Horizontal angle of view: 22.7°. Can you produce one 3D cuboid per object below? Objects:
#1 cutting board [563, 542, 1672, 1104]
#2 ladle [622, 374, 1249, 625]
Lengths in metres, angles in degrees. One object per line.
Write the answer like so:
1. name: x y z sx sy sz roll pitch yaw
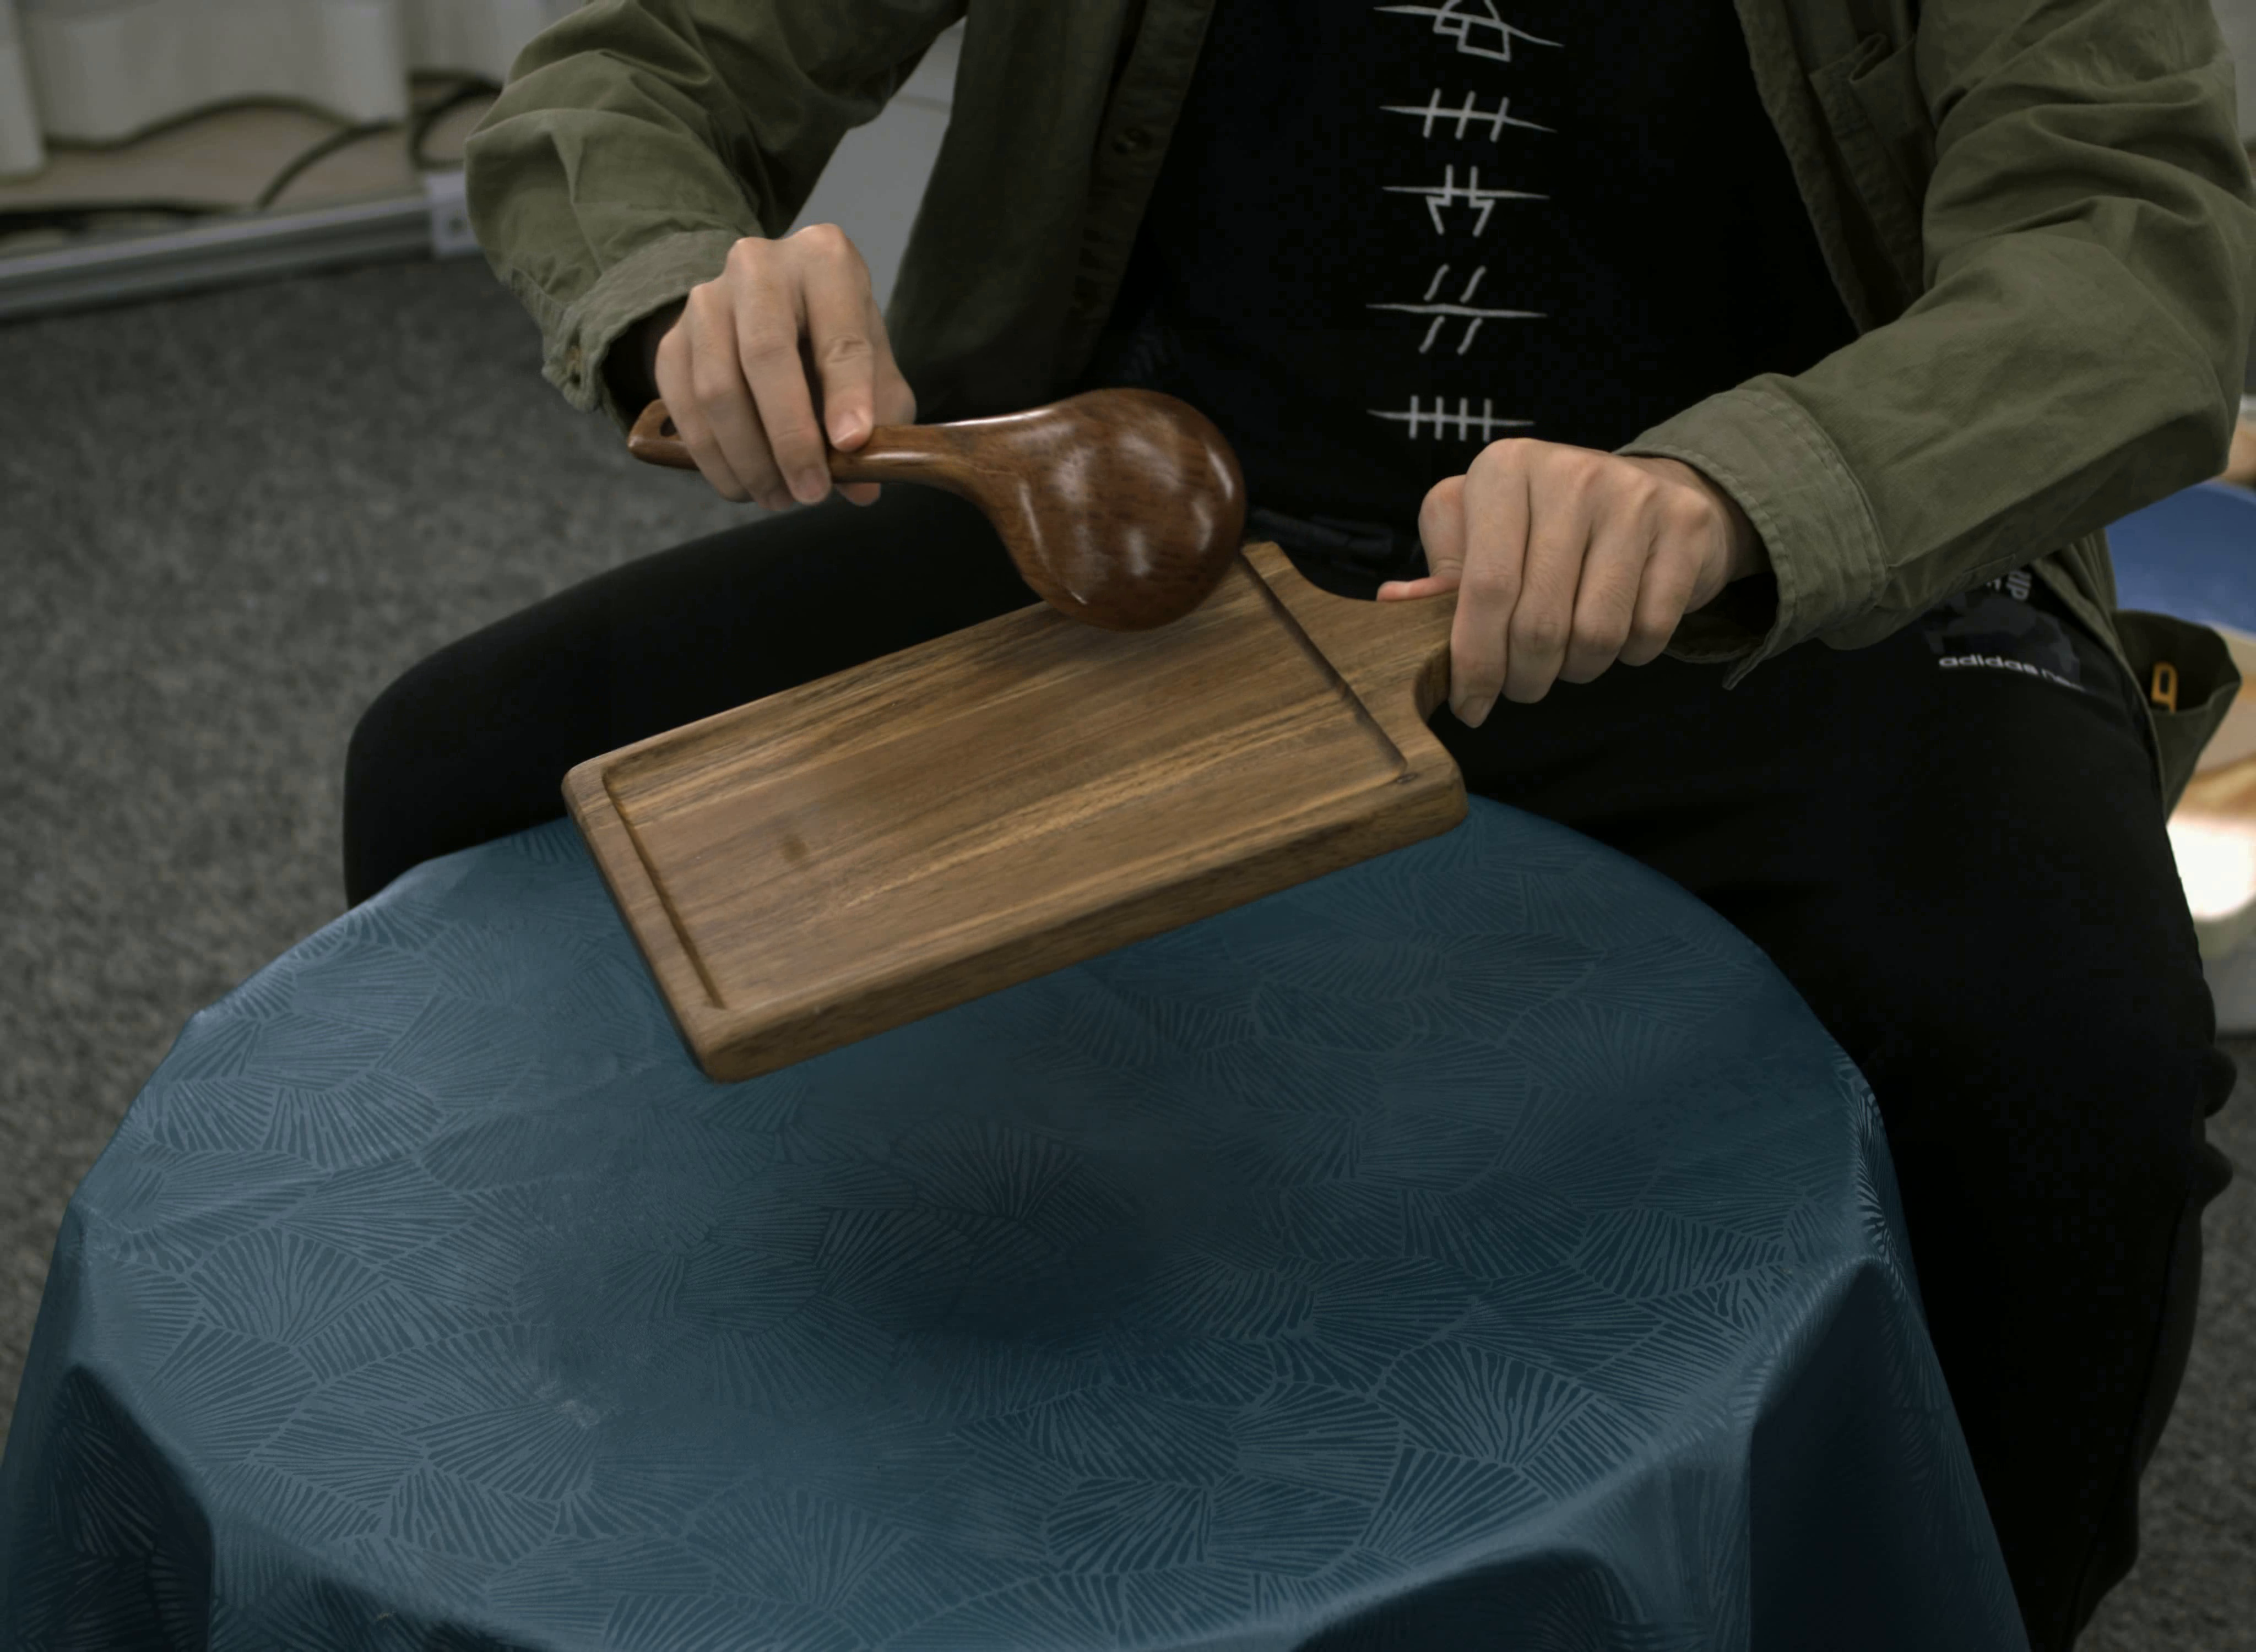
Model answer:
1. cutting board: 0.007 -0.021 1.762 0.352 0.023 0.203 -19 30 -9
2. ladle: -0.066 -0.119 1.896 0.272 0.076 0.083 9 64 51
